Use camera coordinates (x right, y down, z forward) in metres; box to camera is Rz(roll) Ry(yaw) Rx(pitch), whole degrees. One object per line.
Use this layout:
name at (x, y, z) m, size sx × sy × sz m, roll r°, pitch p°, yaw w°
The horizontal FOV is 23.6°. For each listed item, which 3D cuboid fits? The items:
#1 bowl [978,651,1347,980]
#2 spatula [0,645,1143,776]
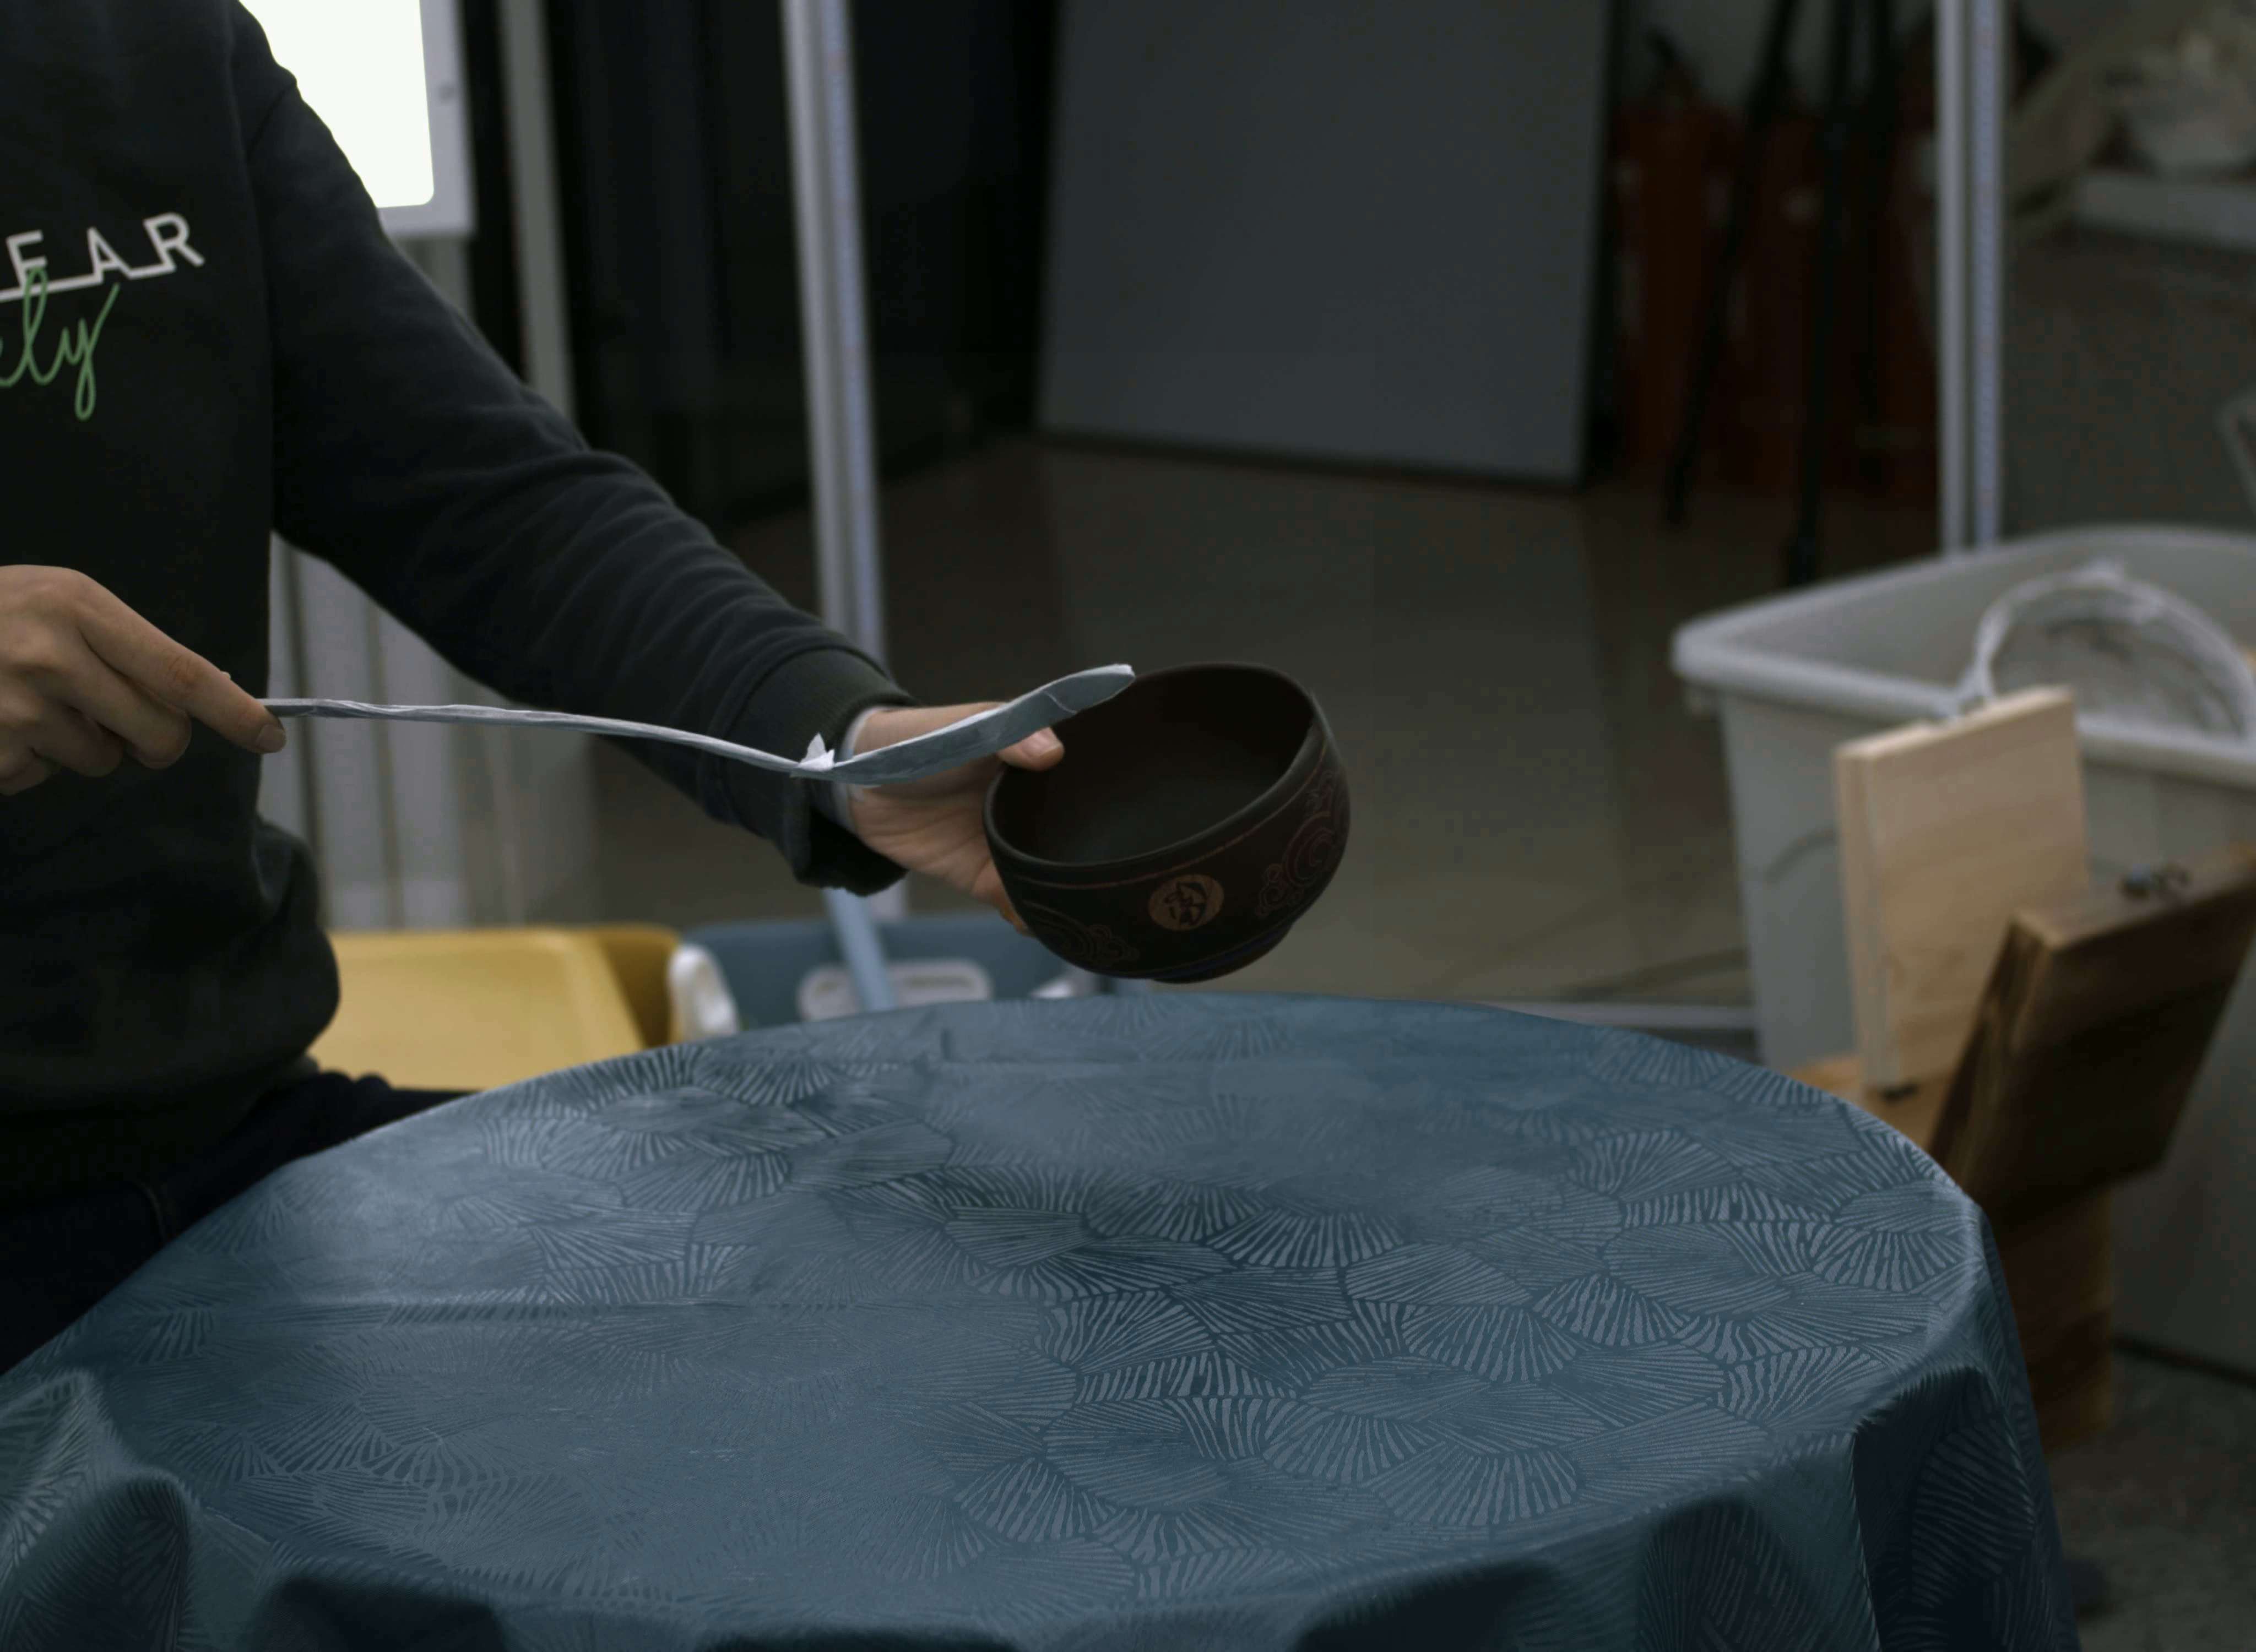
bowl at (0.016, 0.004, 1.724) m, size 0.117 × 0.070 × 0.118 m, roll -18°, pitch 28°, yaw 9°
spatula at (-0.176, -0.038, 1.633) m, size 0.360 × 0.045 × 0.098 m, roll 2°, pitch 0°, yaw 1°
